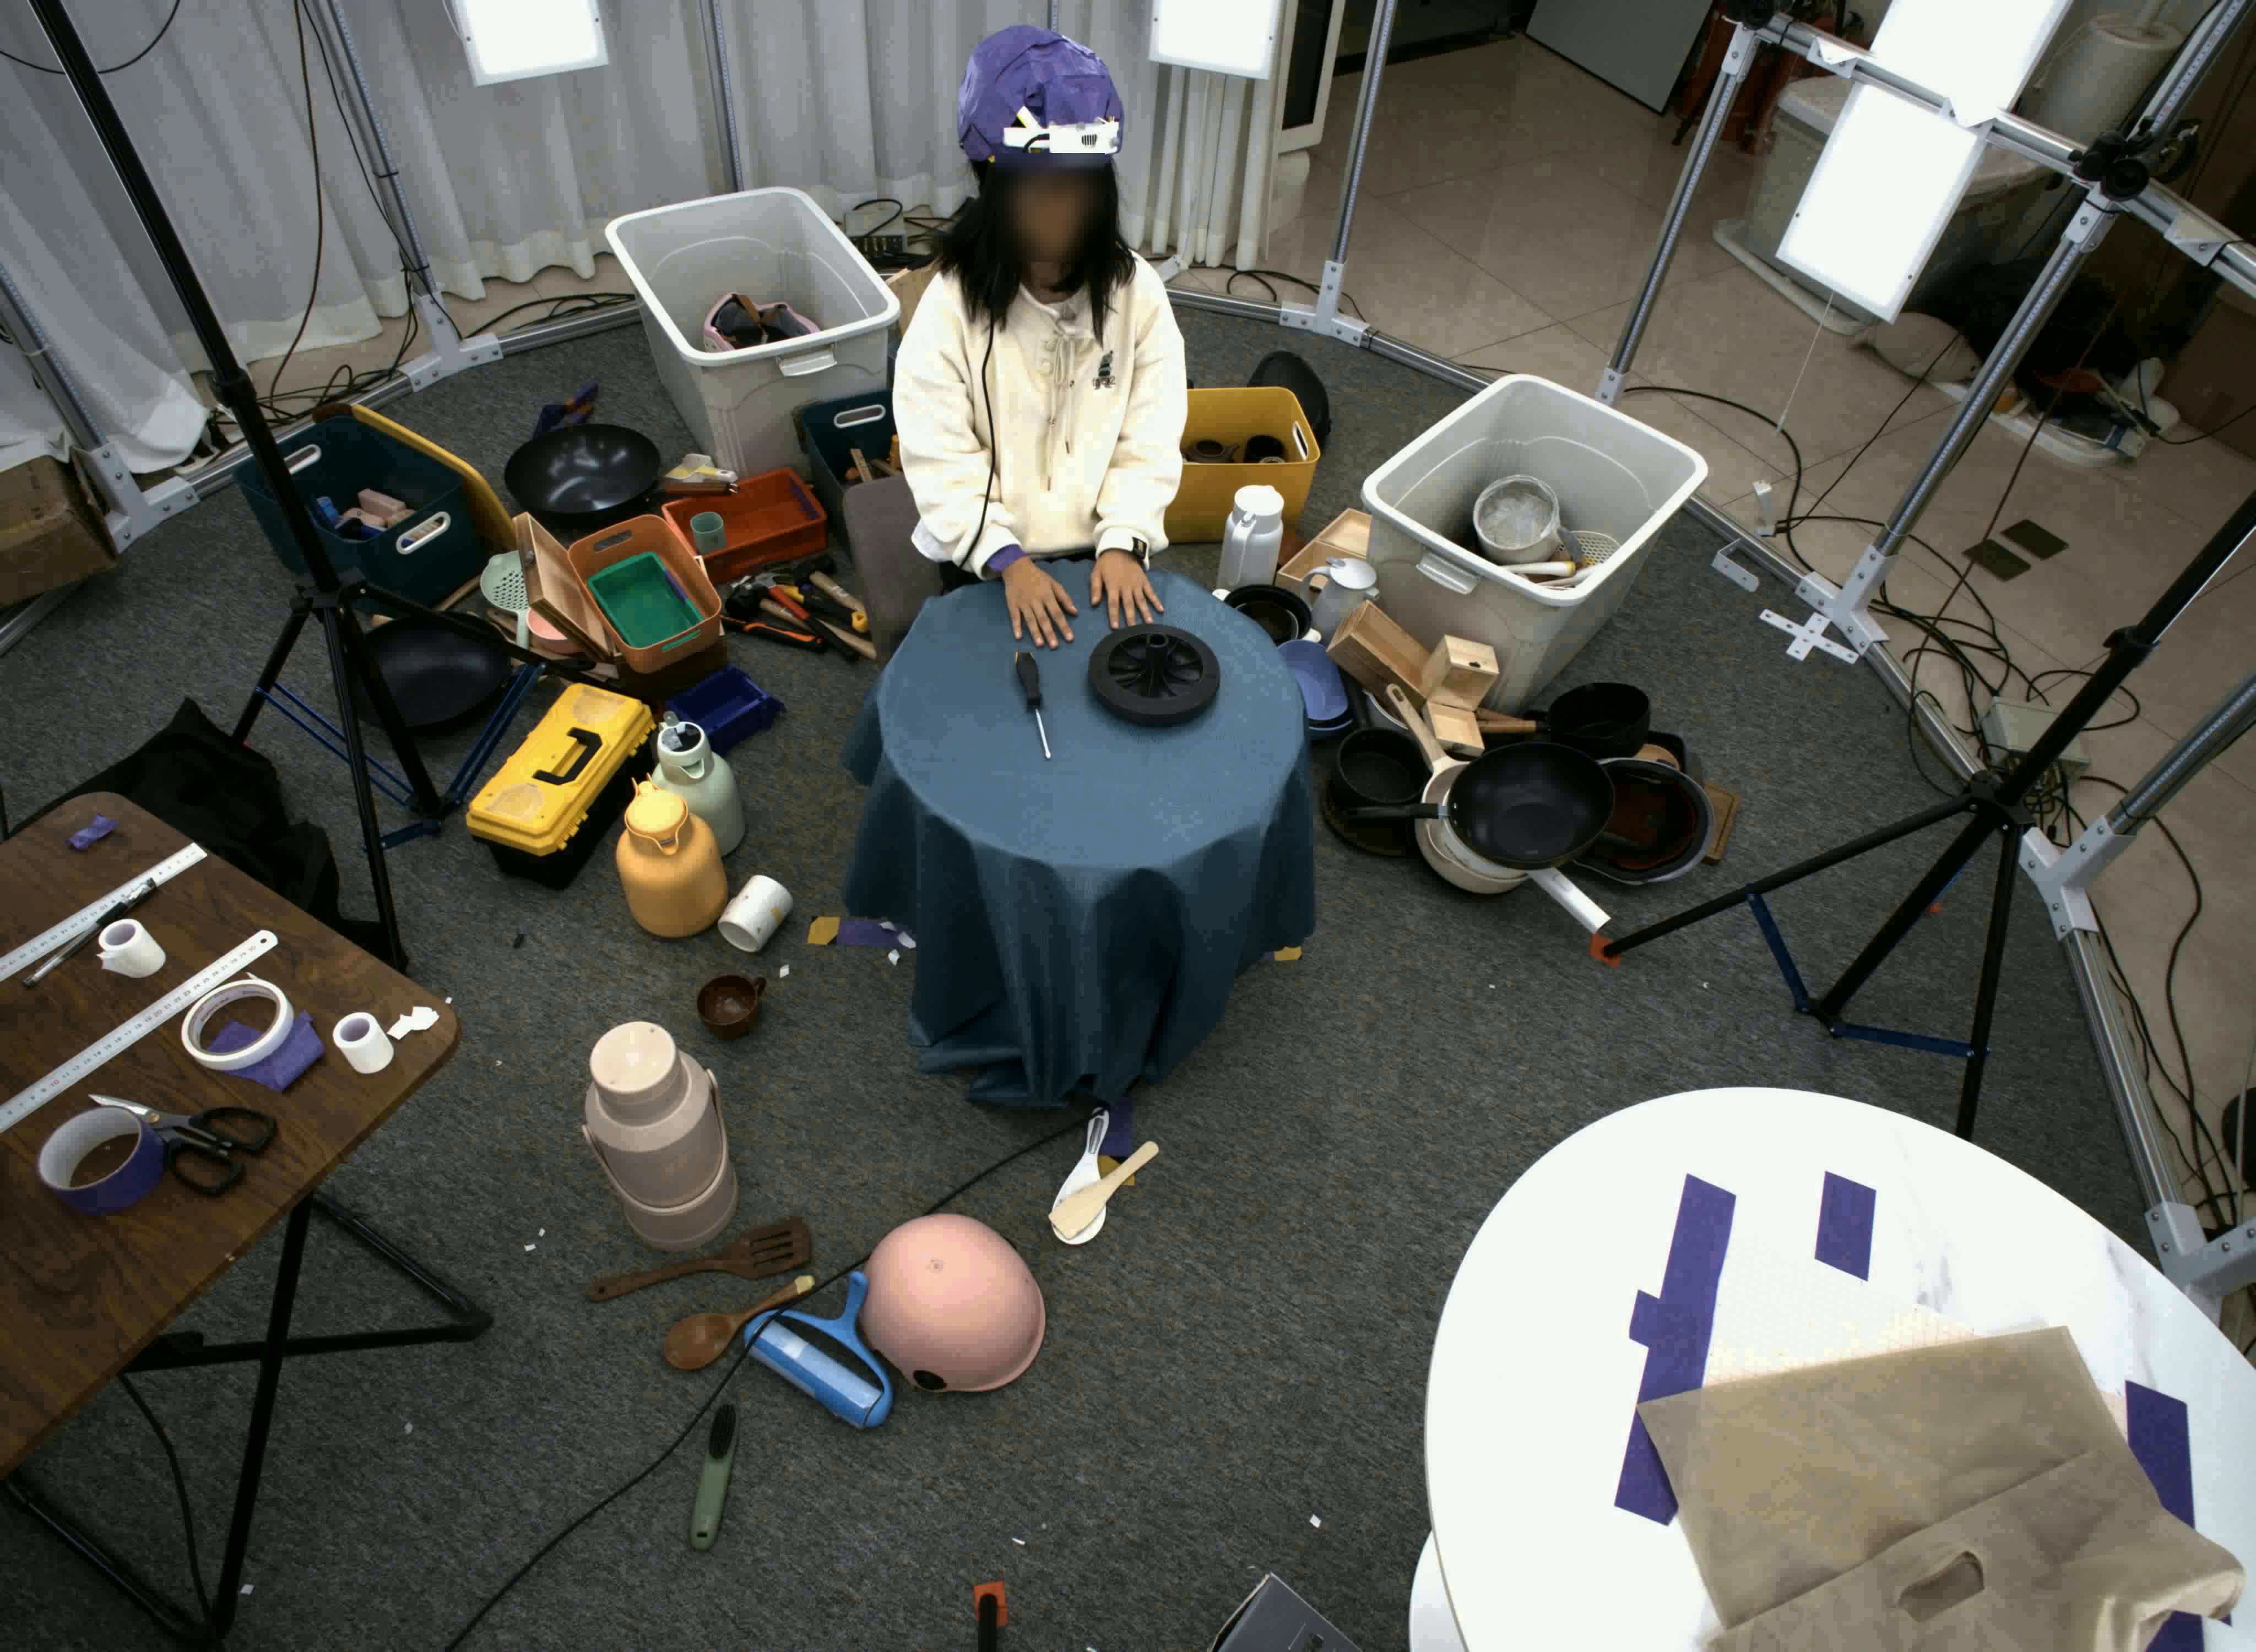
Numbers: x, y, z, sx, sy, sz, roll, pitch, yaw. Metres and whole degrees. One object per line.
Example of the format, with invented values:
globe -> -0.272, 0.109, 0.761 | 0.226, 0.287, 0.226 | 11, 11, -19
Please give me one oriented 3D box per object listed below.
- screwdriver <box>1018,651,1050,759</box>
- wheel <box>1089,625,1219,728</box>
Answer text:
screwdriver -> -0.125, -0.172, 1.795 | 0.031, 0.031, 0.201 | -9, 52, -12
wheel -> 0.037, -0.230, 1.824 | 0.191, 0.077, 0.190 | -35, 59, -25
